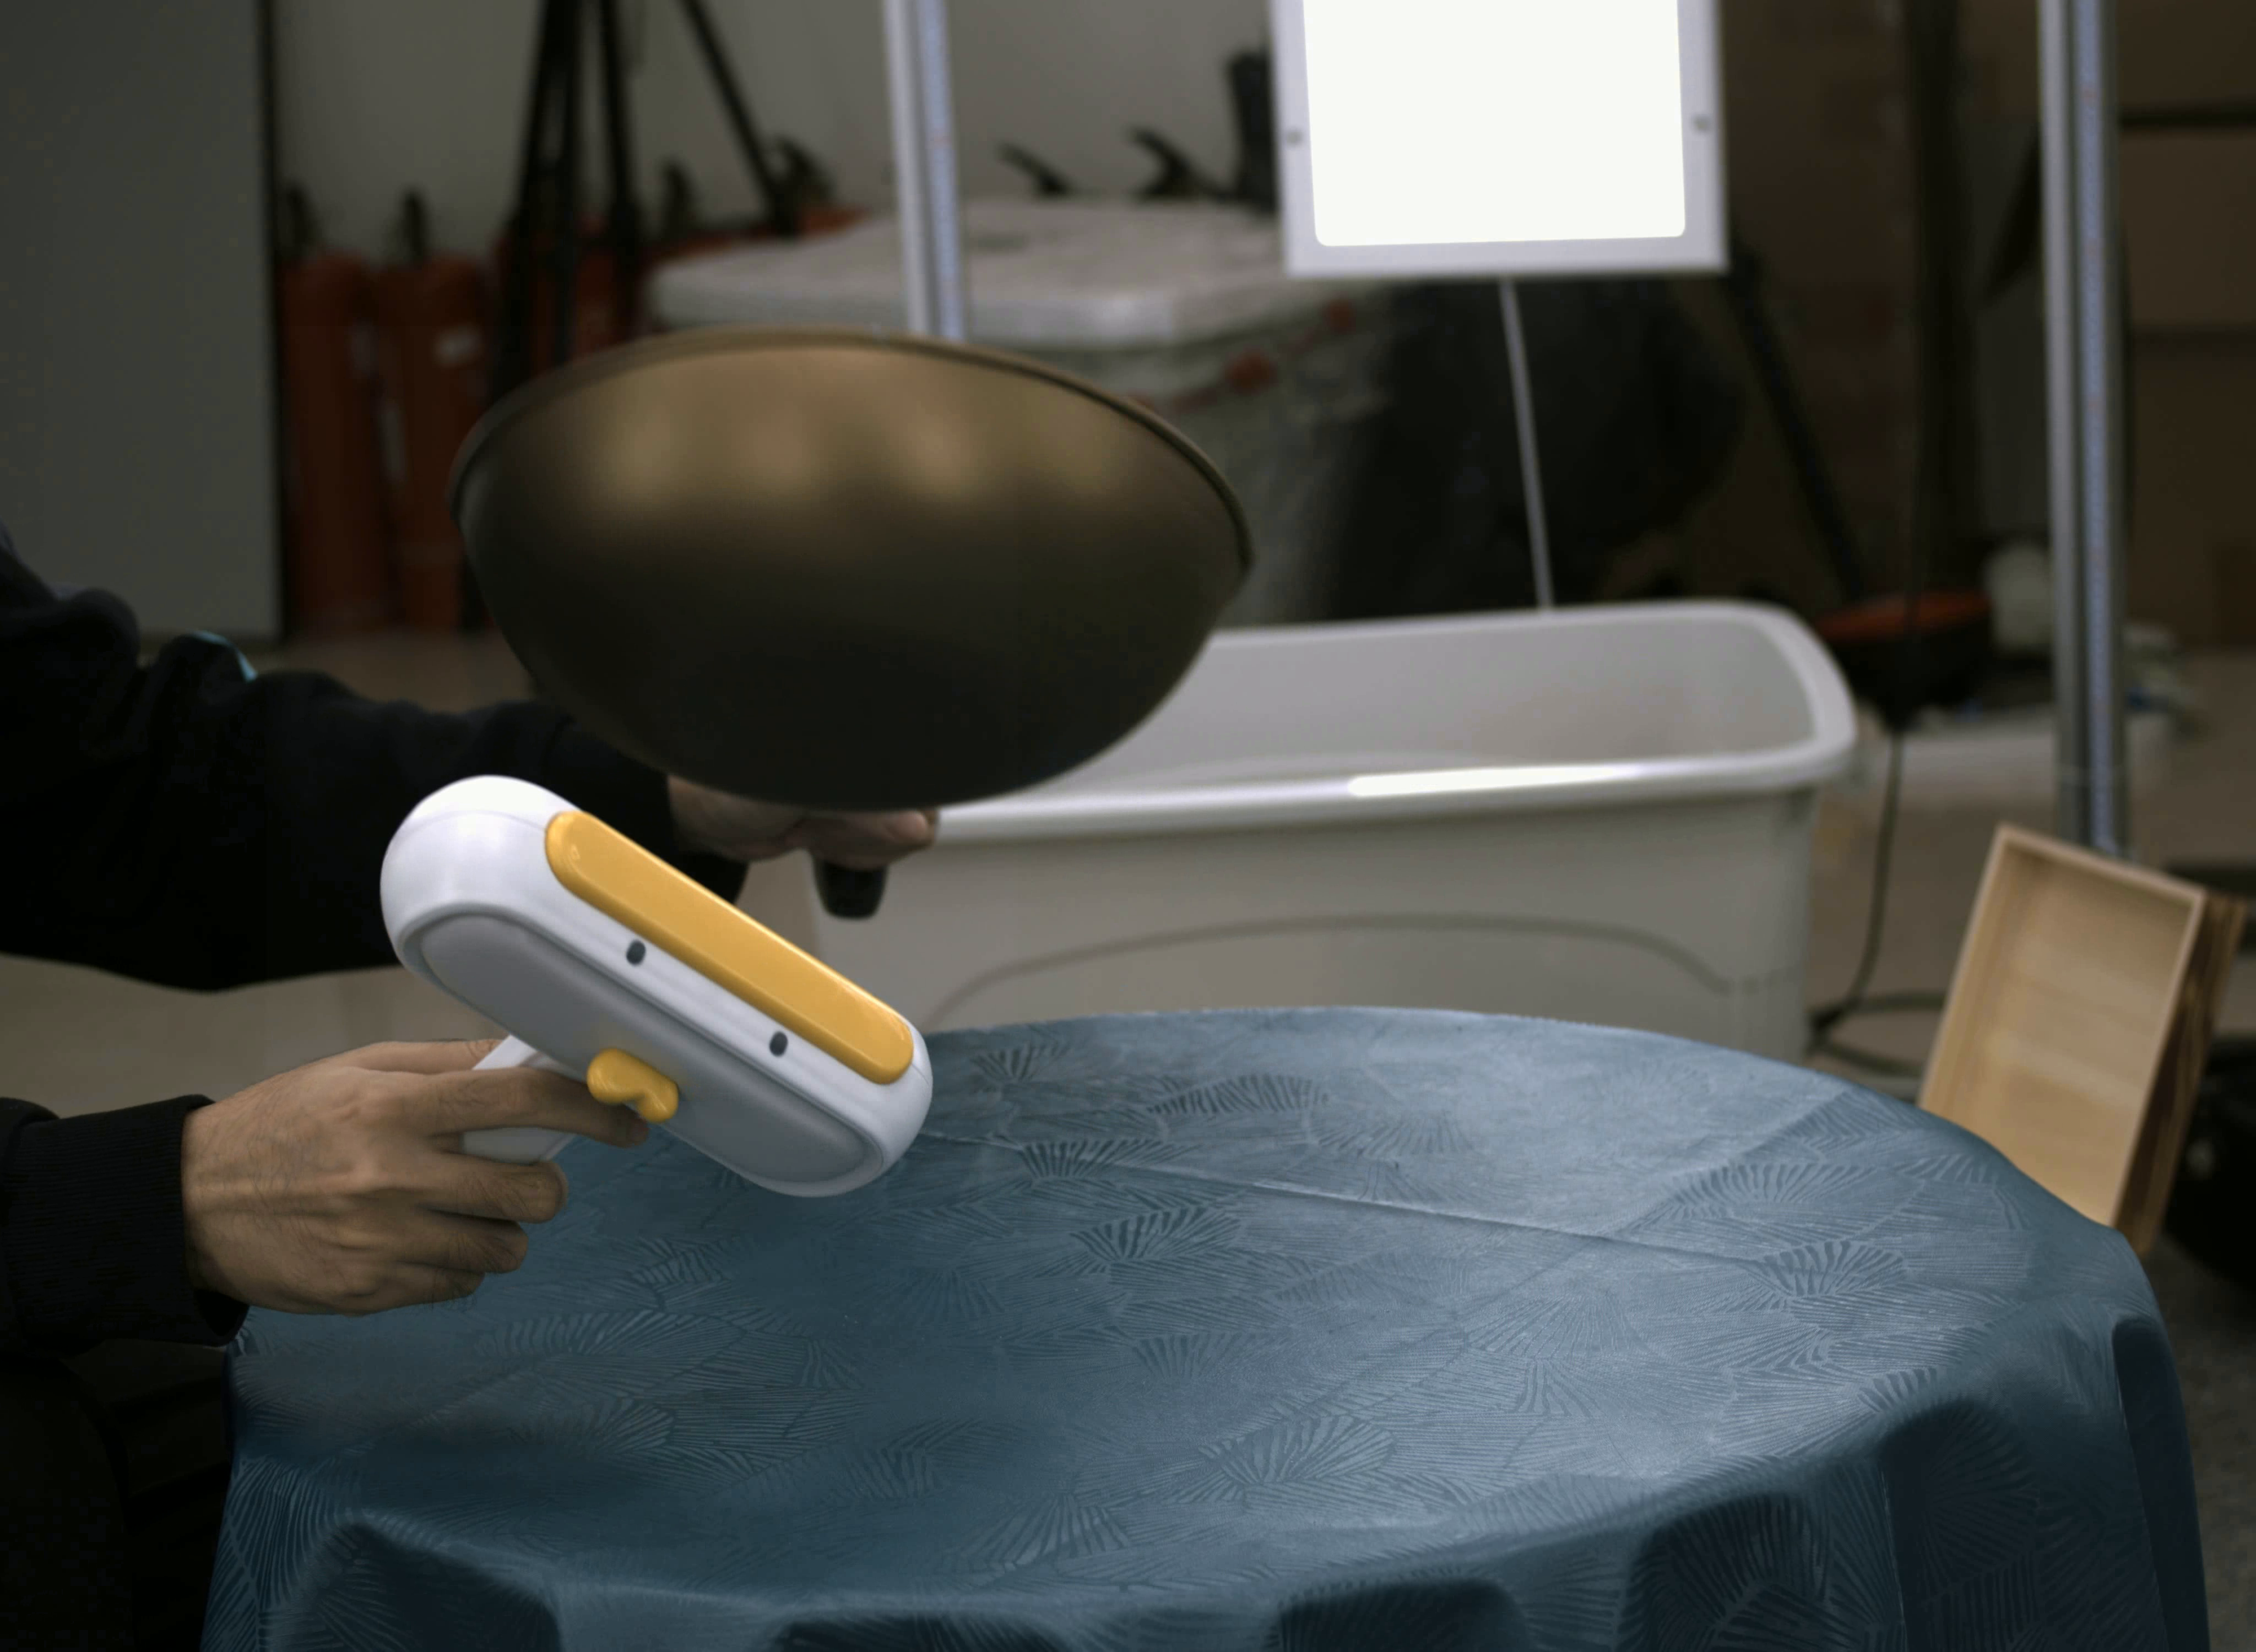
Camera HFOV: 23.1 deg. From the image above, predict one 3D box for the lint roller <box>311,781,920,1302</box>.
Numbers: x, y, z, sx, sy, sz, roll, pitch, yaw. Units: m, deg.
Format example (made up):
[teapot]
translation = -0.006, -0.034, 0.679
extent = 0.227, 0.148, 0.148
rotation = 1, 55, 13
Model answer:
[lint roller]
translation = -0.185, 0.081, 1.698
extent = 0.189, 0.074, 0.196
rotation = 27, -45, -31

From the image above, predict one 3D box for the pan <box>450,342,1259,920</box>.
[pan]
translation = -0.102, -0.030, 2.022
extent = 0.287, 0.087, 0.465
rotation = 3, -24, -1
